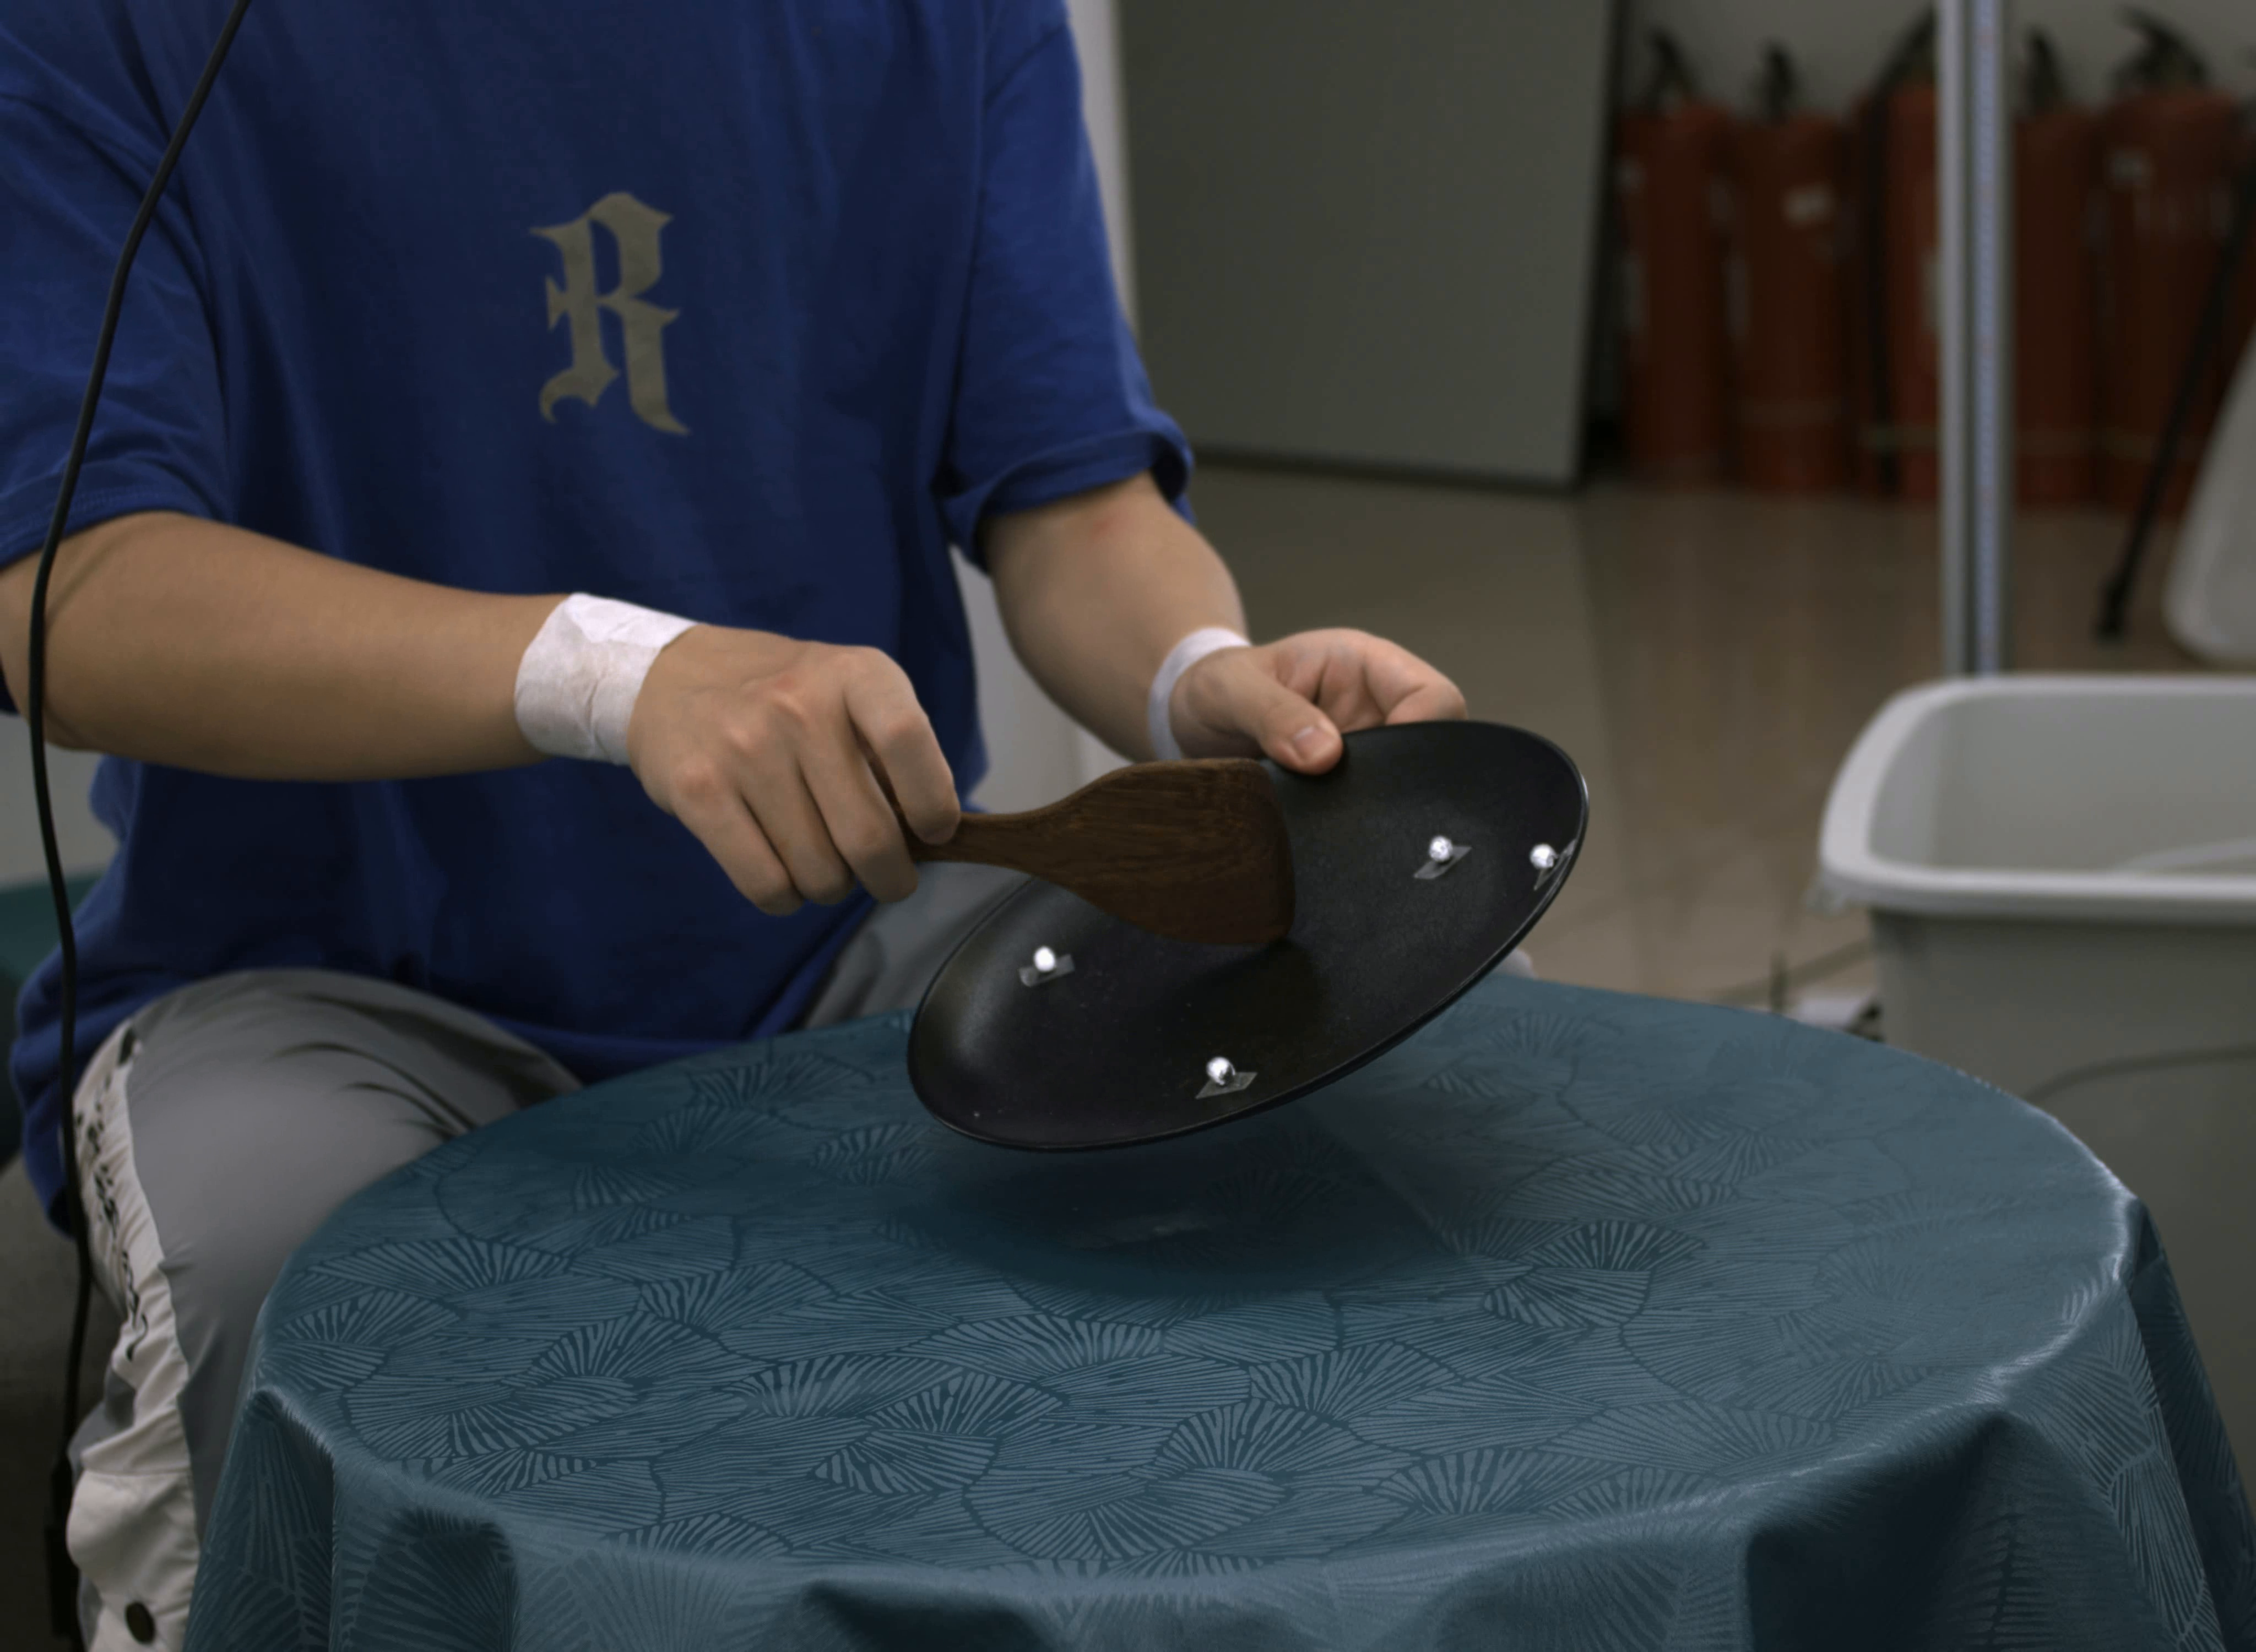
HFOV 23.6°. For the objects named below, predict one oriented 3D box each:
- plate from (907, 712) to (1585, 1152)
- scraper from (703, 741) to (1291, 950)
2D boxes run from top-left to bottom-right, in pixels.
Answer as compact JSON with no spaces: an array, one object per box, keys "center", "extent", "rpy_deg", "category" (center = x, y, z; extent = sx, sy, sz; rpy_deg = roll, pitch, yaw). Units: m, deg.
[{"center":[0.041,0.039,1.765],"extent":[0.243,0.023,0.245],"rpy_deg":[-23,24,9],"category":"plate"},{"center":[-0.046,0.004,1.784],"extent":[0.211,0.076,0.011],"rpy_deg":[3,31,24],"category":"scraper"}]
